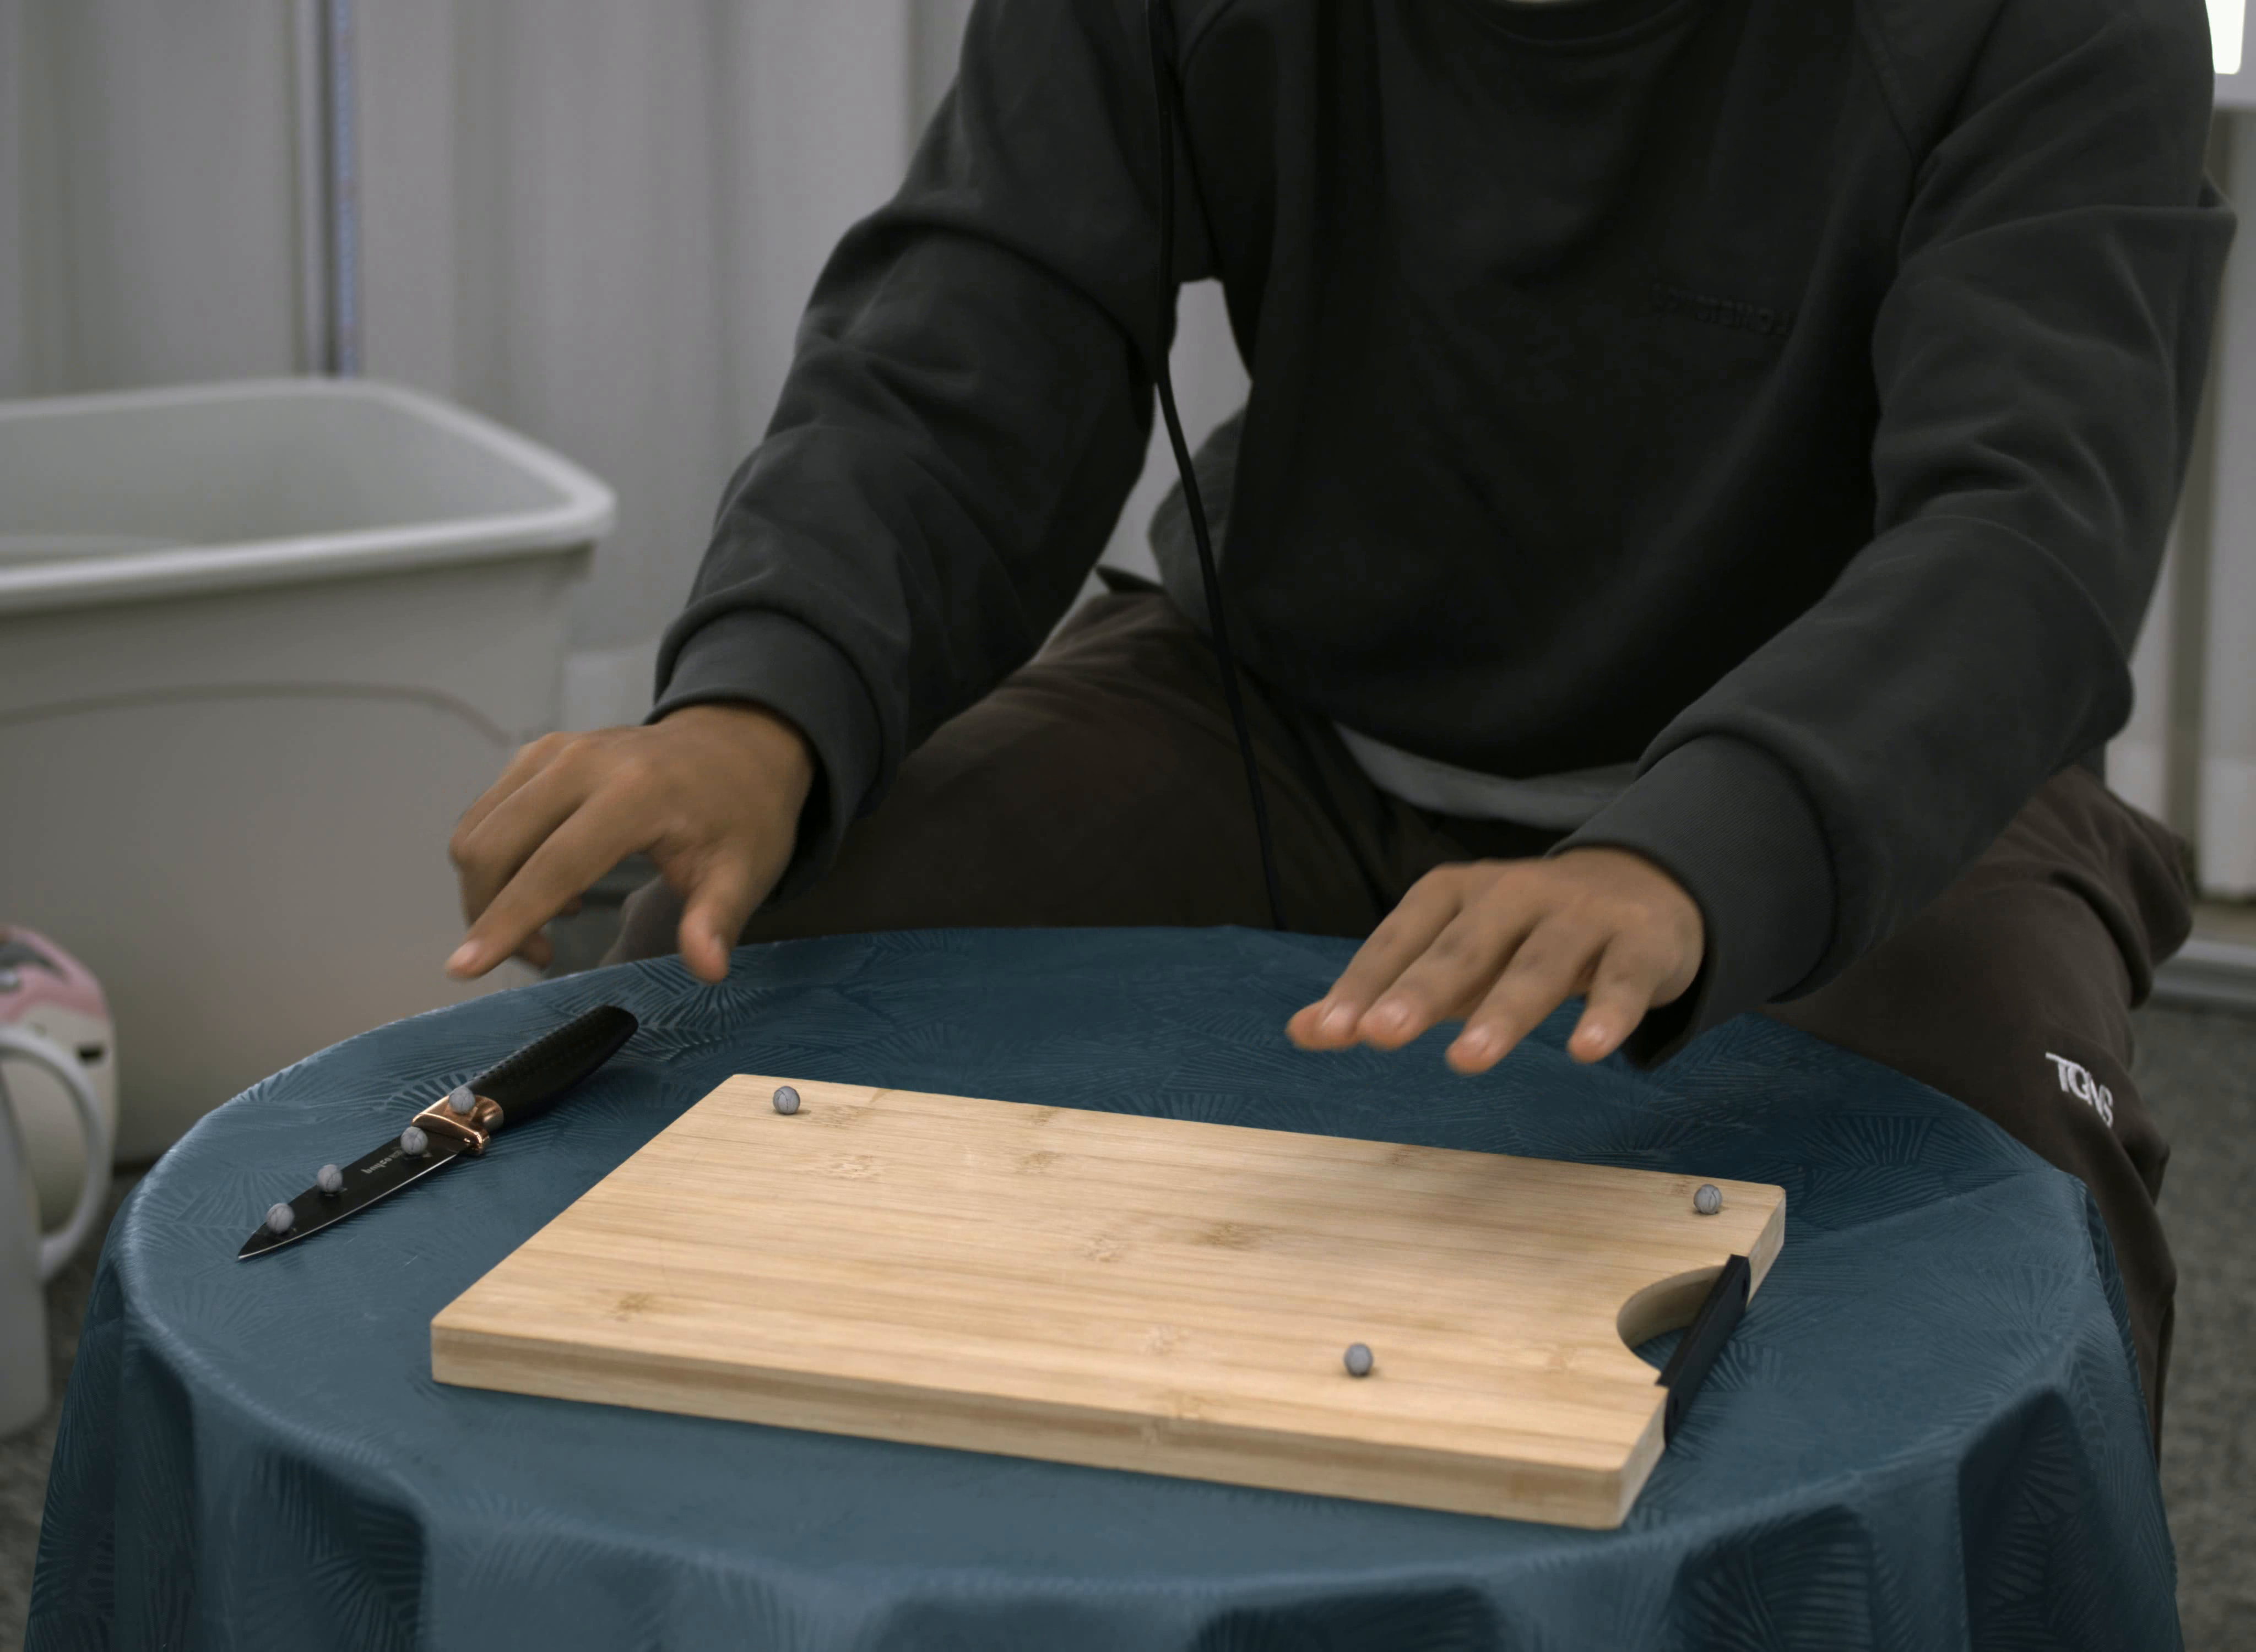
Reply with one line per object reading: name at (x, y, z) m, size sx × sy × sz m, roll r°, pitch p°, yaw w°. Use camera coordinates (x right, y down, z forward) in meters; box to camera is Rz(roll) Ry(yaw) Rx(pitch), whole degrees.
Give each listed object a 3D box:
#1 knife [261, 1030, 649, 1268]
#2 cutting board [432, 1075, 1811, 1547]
knife at (-0.211, 0.100, 1.643) m, size 0.026 × 0.017 × 0.226 m, roll 14°, pitch 20°, yaw 22°
cutting board at (0.006, 0.133, 1.522) m, size 0.346 × 0.024 × 0.250 m, roll 5°, pitch 16°, yaw 15°
